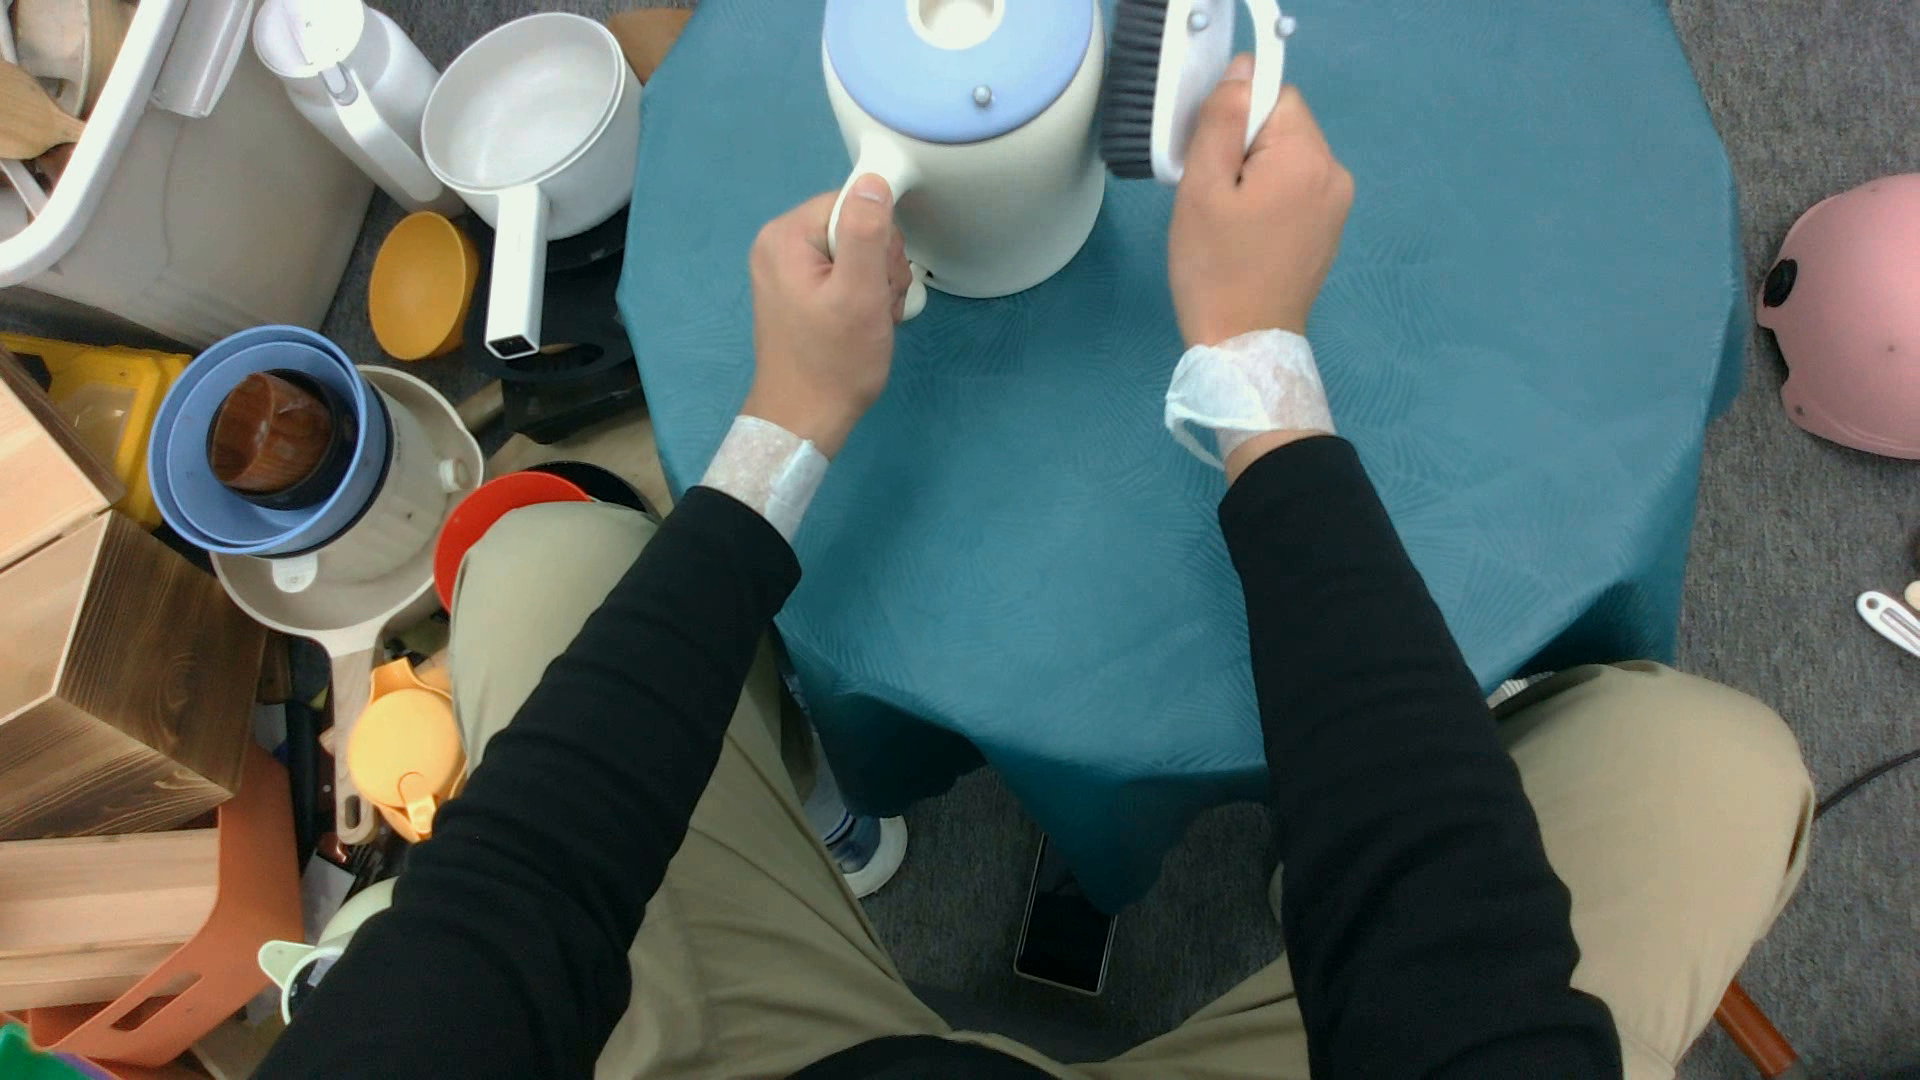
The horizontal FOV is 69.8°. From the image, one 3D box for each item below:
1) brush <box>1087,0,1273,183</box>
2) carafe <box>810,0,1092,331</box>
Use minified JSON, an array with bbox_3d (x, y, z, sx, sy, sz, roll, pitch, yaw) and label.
[{"bbox_3d":[0.105,-0.212,0.625,0.072,0.050,0.099,19,107,32],"label":"brush"},{"bbox_3d":[-0.013,-0.195,0.682,0.132,0.182,0.191,28,83,10],"label":"carafe"}]
